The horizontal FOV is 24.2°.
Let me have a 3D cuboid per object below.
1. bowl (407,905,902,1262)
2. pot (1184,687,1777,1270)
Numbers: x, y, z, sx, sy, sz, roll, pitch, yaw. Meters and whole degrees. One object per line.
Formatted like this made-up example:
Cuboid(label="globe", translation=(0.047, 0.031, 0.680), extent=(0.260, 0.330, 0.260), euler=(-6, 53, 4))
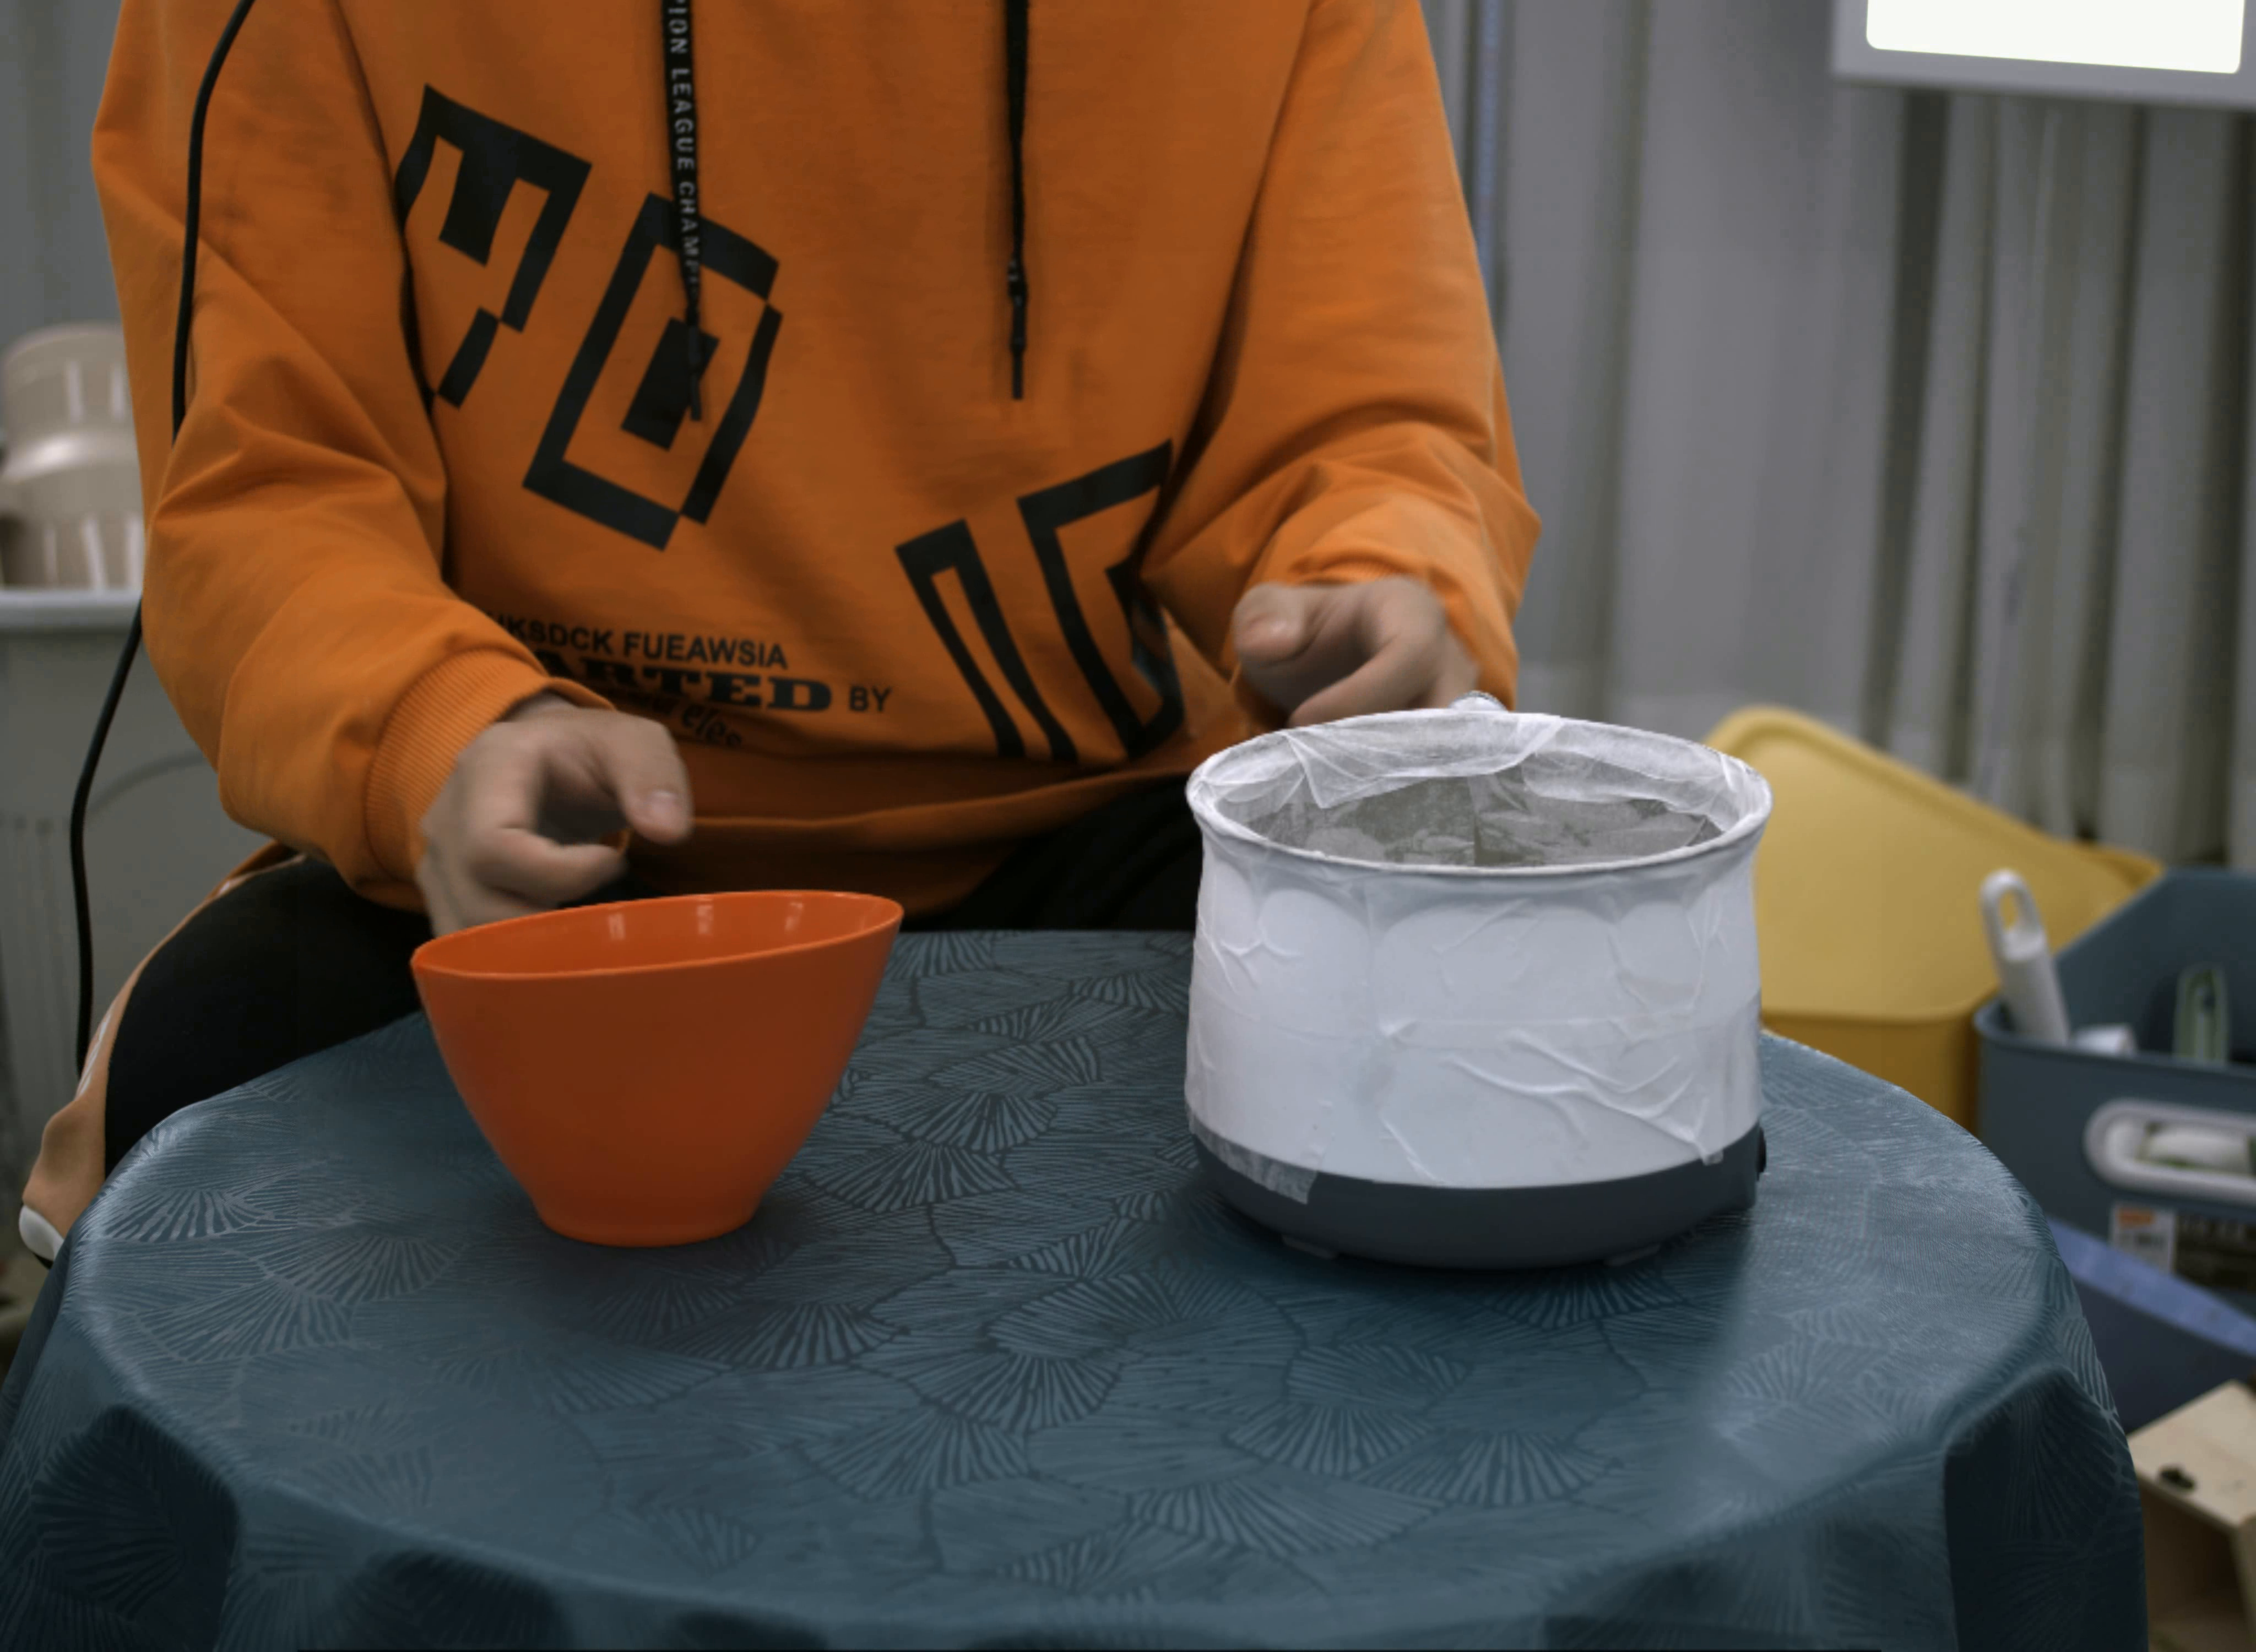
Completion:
Cuboid(label="bowl", translation=(-0.141, 0.074, 1.577), extent=(0.147, 0.105, 0.147), euler=(0, 14, 0))
Cuboid(label="pot", translation=(0.106, 0.042, 1.622), extent=(0.178, 0.138, 0.232), euler=(1, 16, 1))
